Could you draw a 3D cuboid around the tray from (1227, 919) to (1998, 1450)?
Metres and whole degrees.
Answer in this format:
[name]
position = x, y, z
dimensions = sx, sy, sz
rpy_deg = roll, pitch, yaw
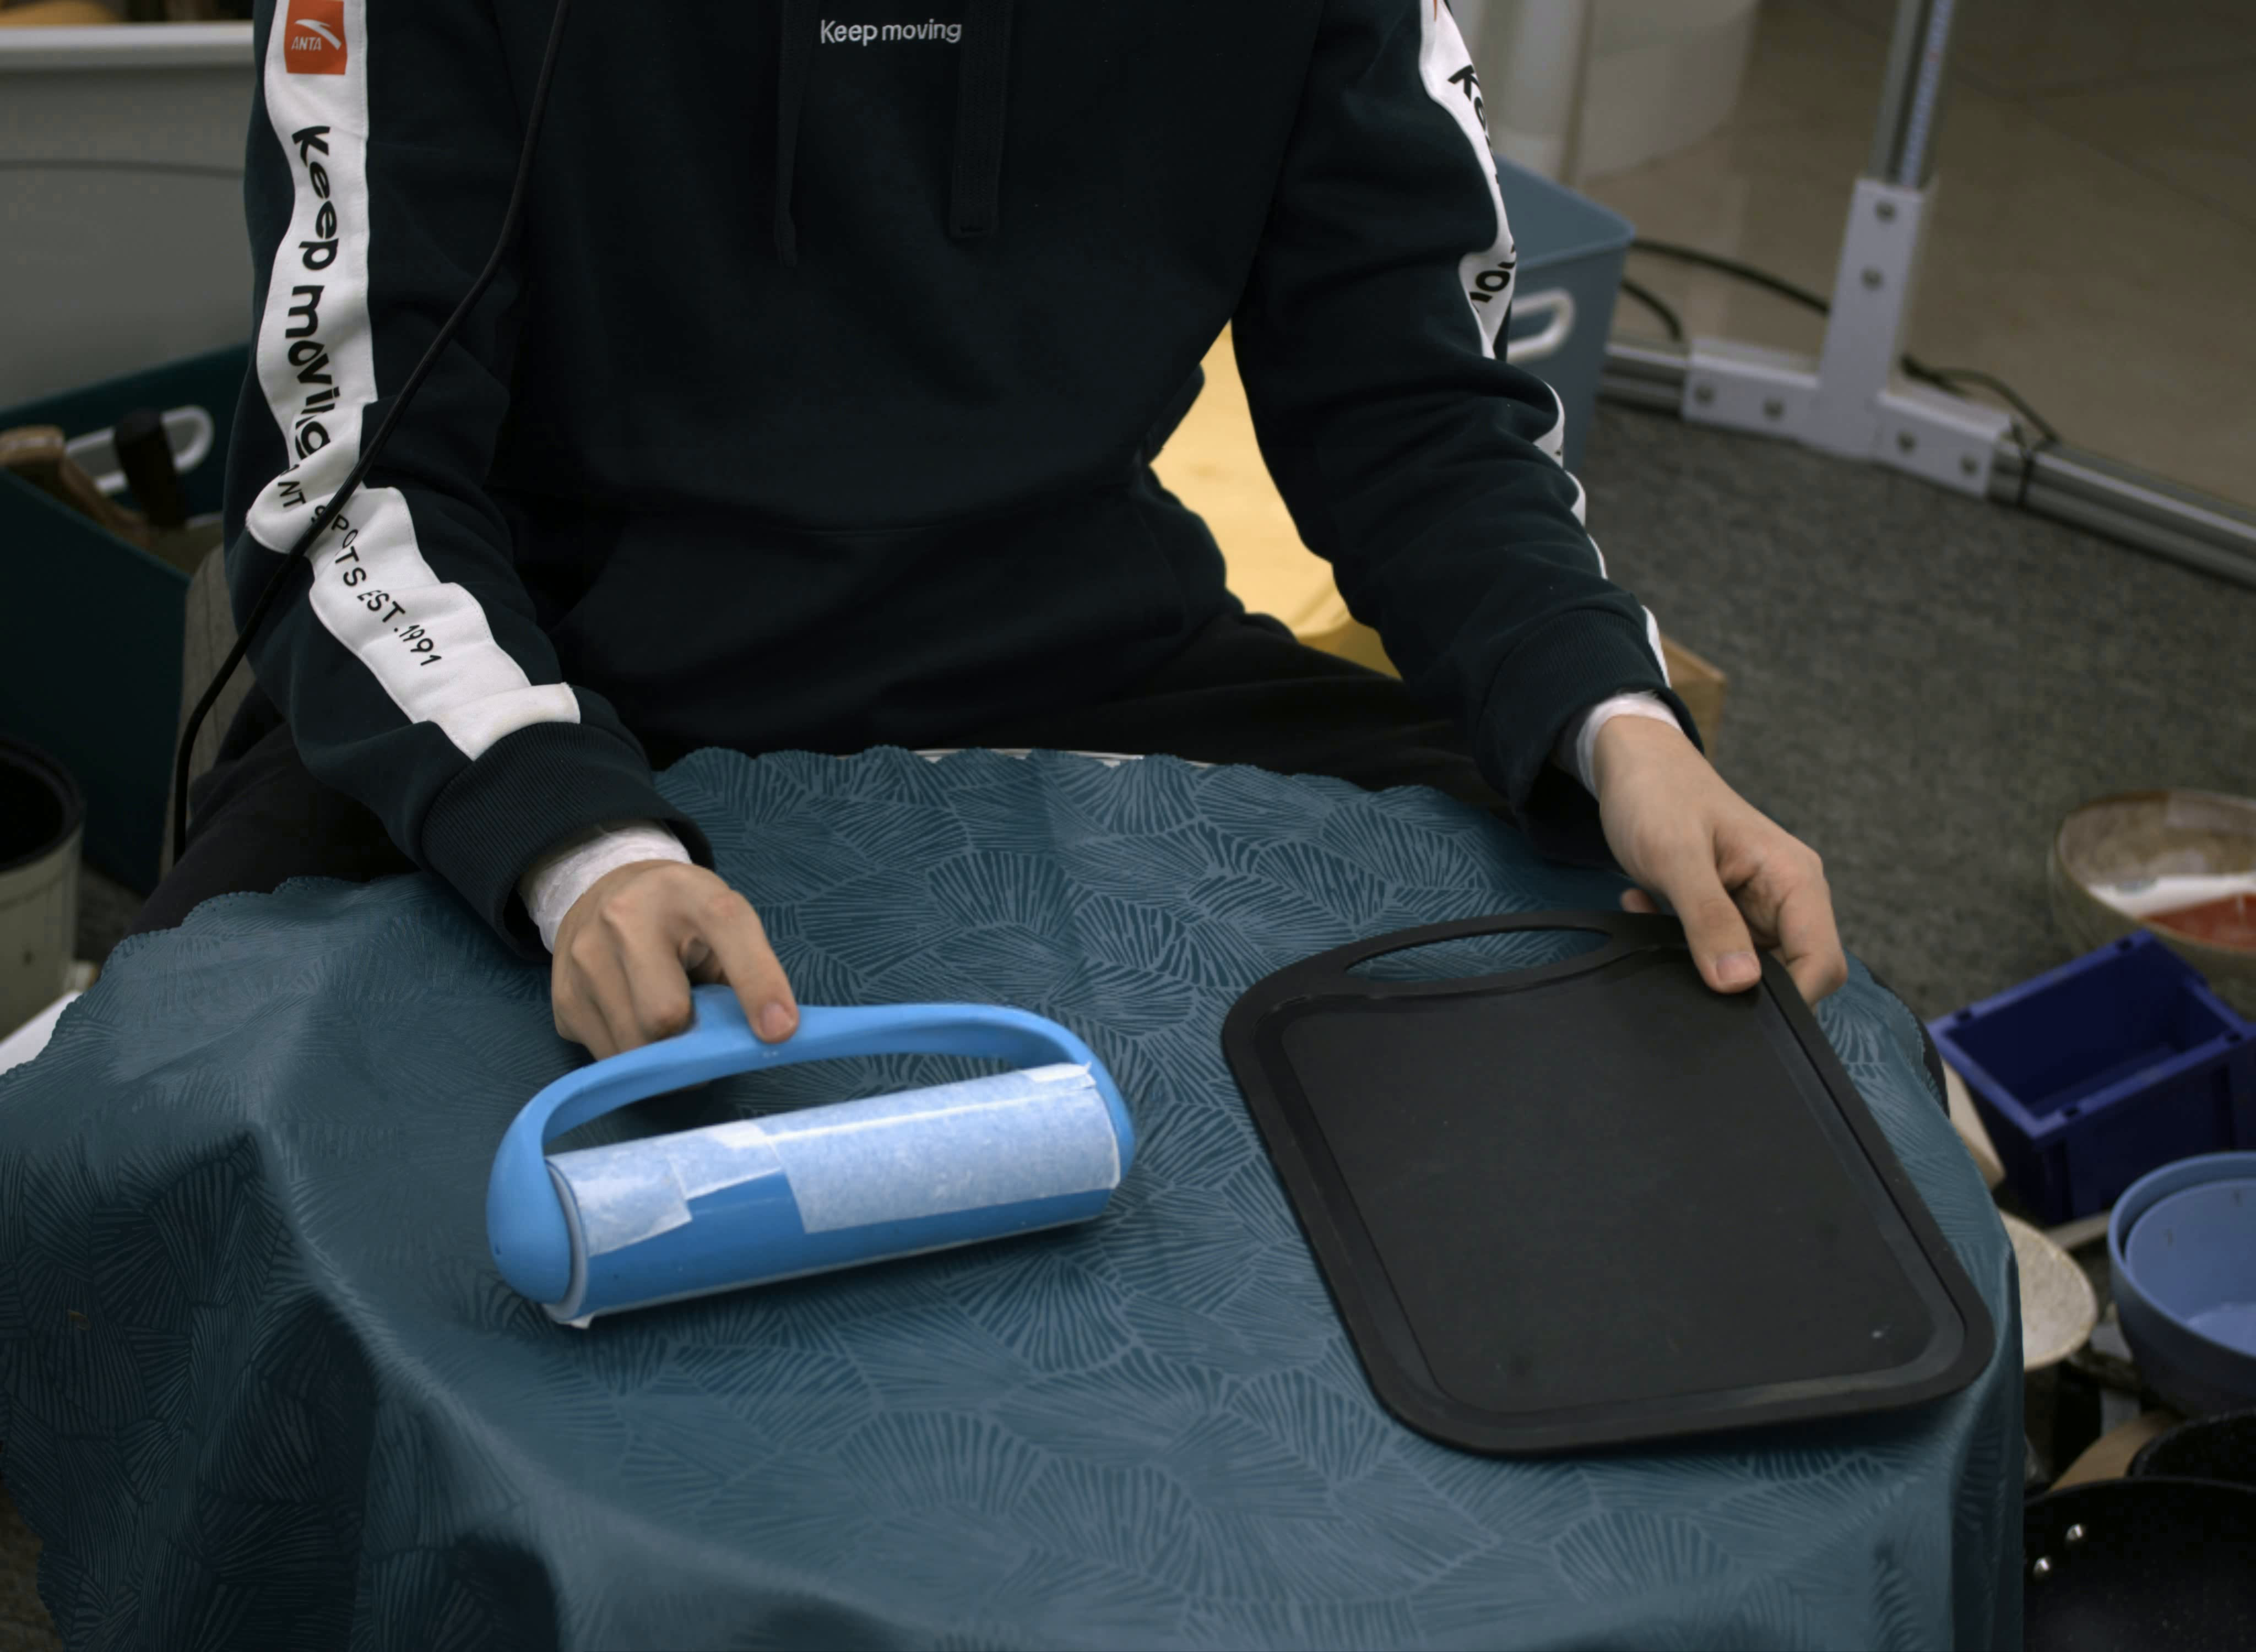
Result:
[tray]
position = 0.156, 0.113, 1.820
dimensions = 0.210, 0.010, 0.328
rpy_deg = -6, 29, -9

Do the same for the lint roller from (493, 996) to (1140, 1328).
[lint roller]
position = -0.129, 0.091, 1.770
dimensions = 0.227, 0.067, 0.182
rpy_deg = -12, 32, -29
